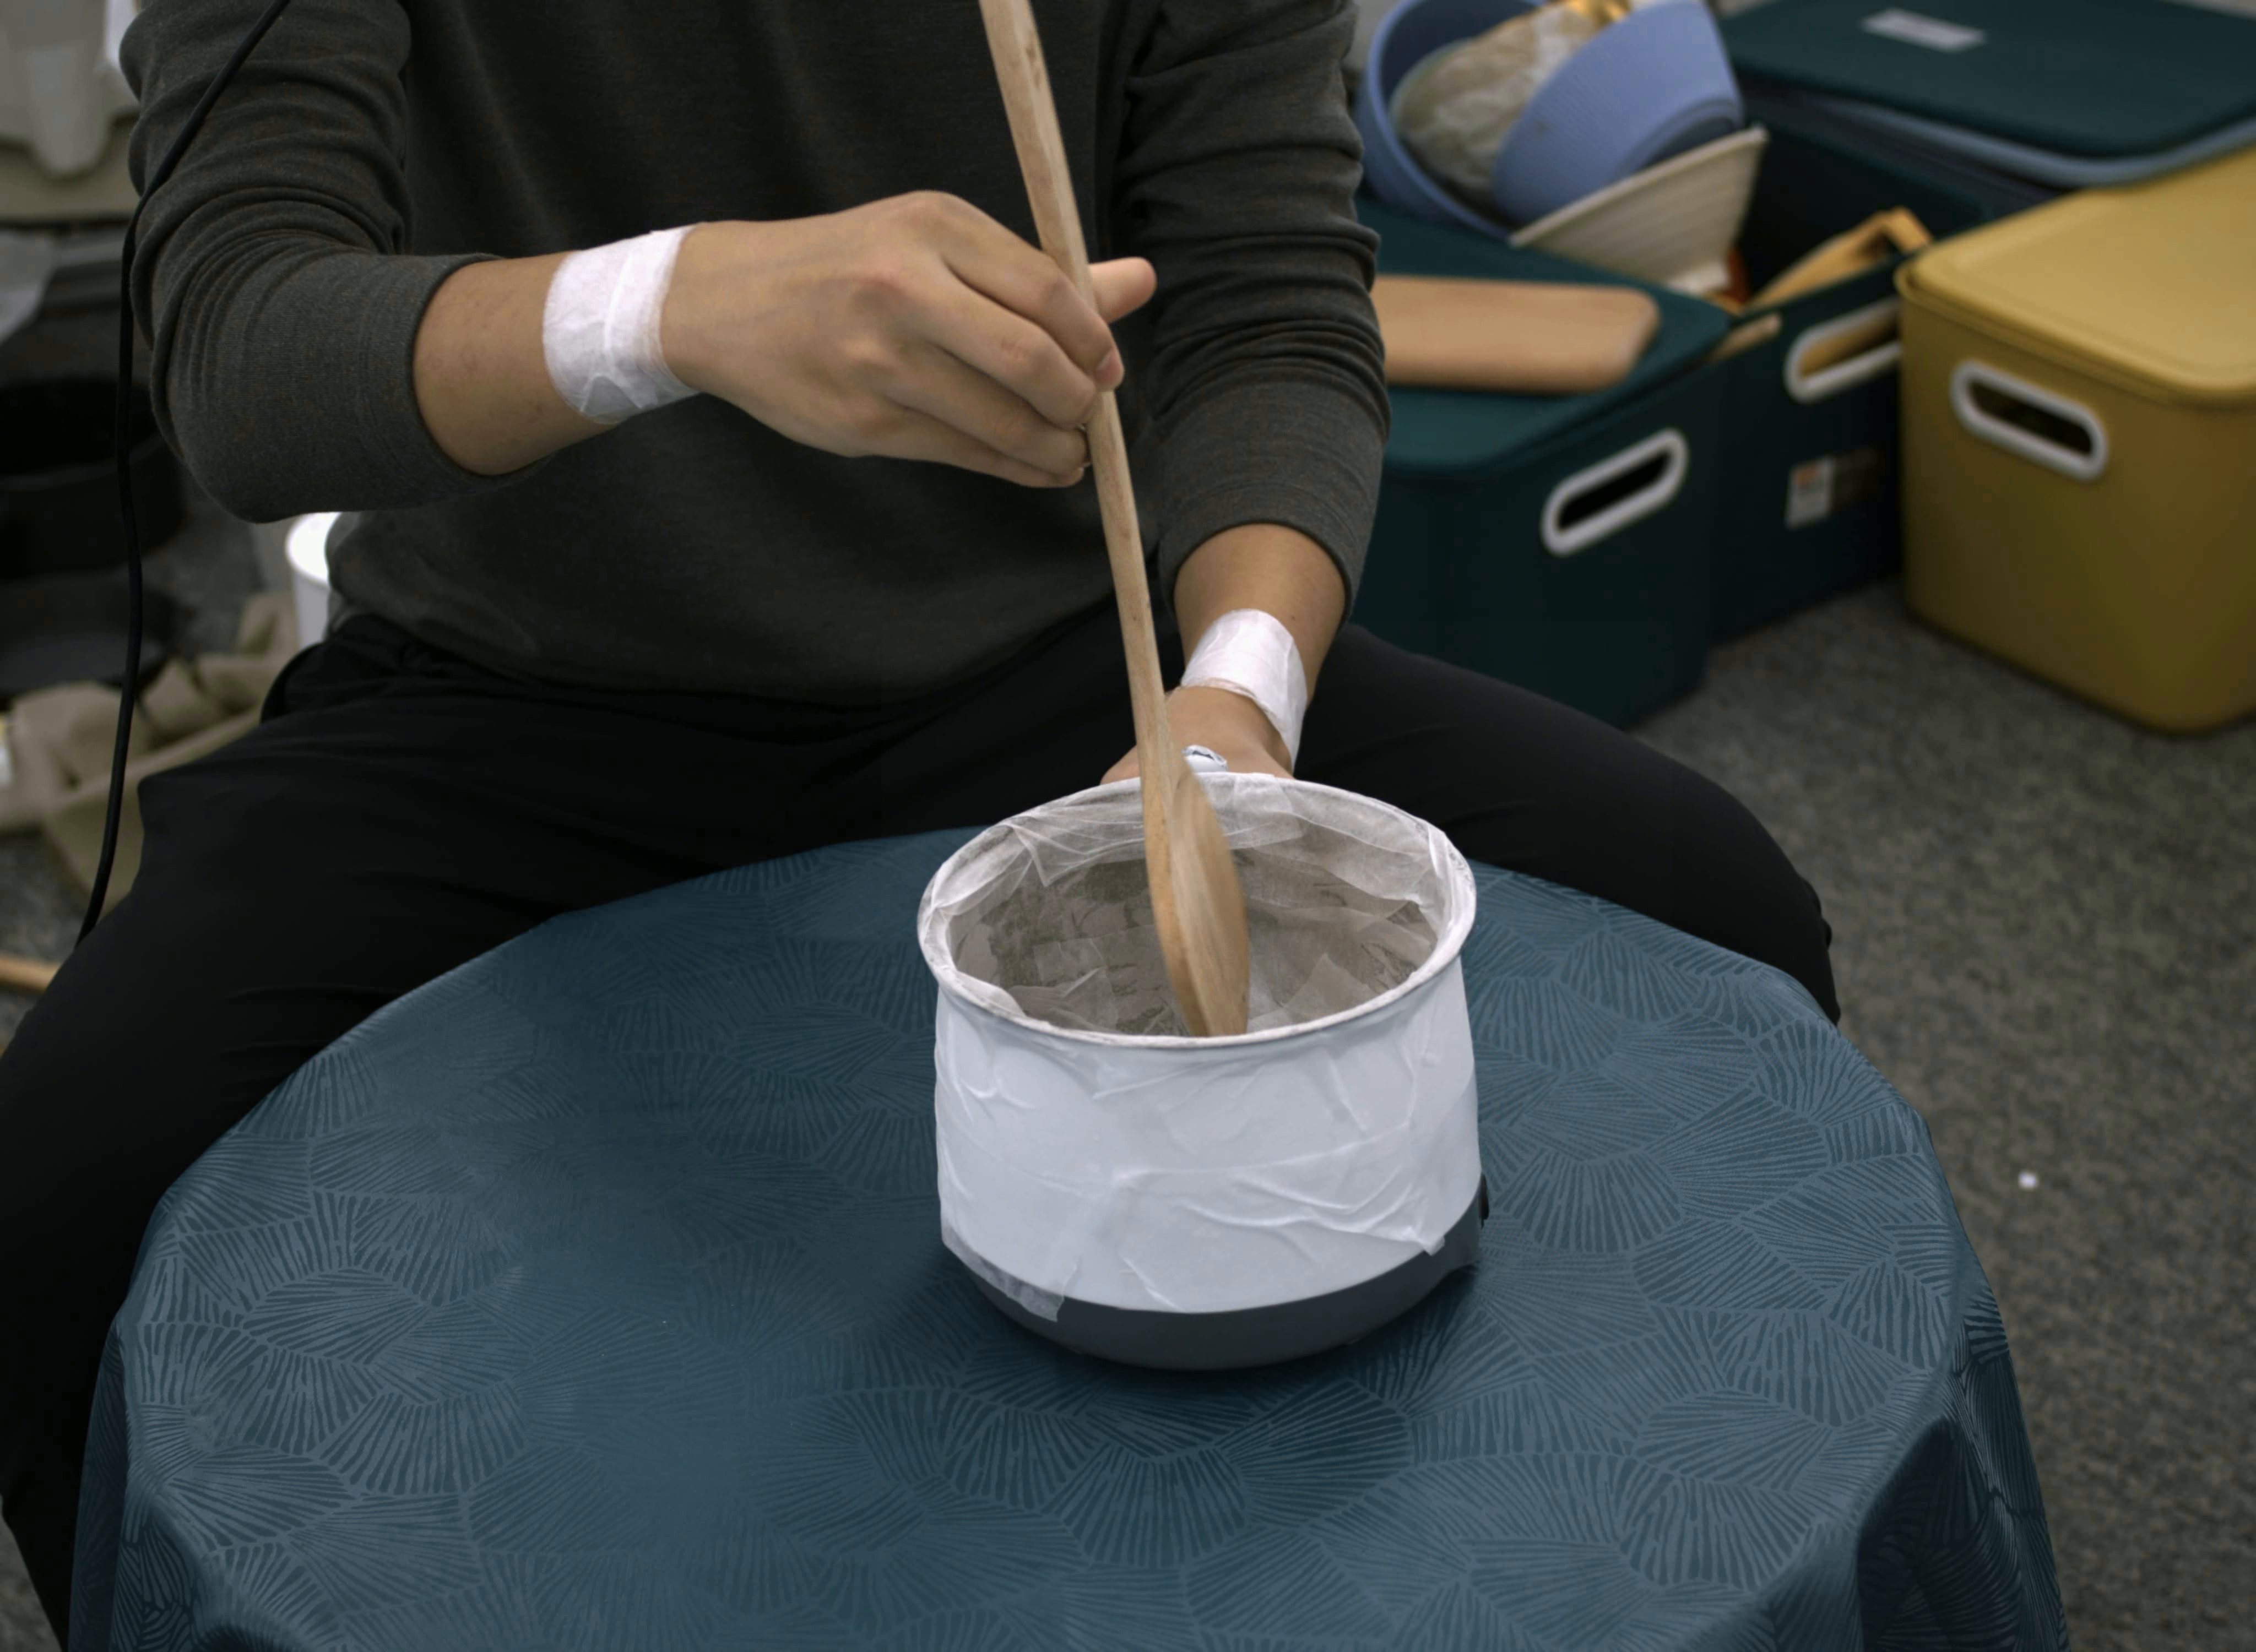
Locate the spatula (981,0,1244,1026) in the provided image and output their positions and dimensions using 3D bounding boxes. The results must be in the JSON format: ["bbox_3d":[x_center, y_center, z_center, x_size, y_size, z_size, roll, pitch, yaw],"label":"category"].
[{"bbox_3d":[-0.005,-0.096,1.726,0.018,0.387,0.097,-9,27,5],"label":"spatula"}]

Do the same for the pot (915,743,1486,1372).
[{"bbox_3d":[0.024,0.067,1.818,0.178,0.135,0.237,-3,27,0],"label":"pot"}]
